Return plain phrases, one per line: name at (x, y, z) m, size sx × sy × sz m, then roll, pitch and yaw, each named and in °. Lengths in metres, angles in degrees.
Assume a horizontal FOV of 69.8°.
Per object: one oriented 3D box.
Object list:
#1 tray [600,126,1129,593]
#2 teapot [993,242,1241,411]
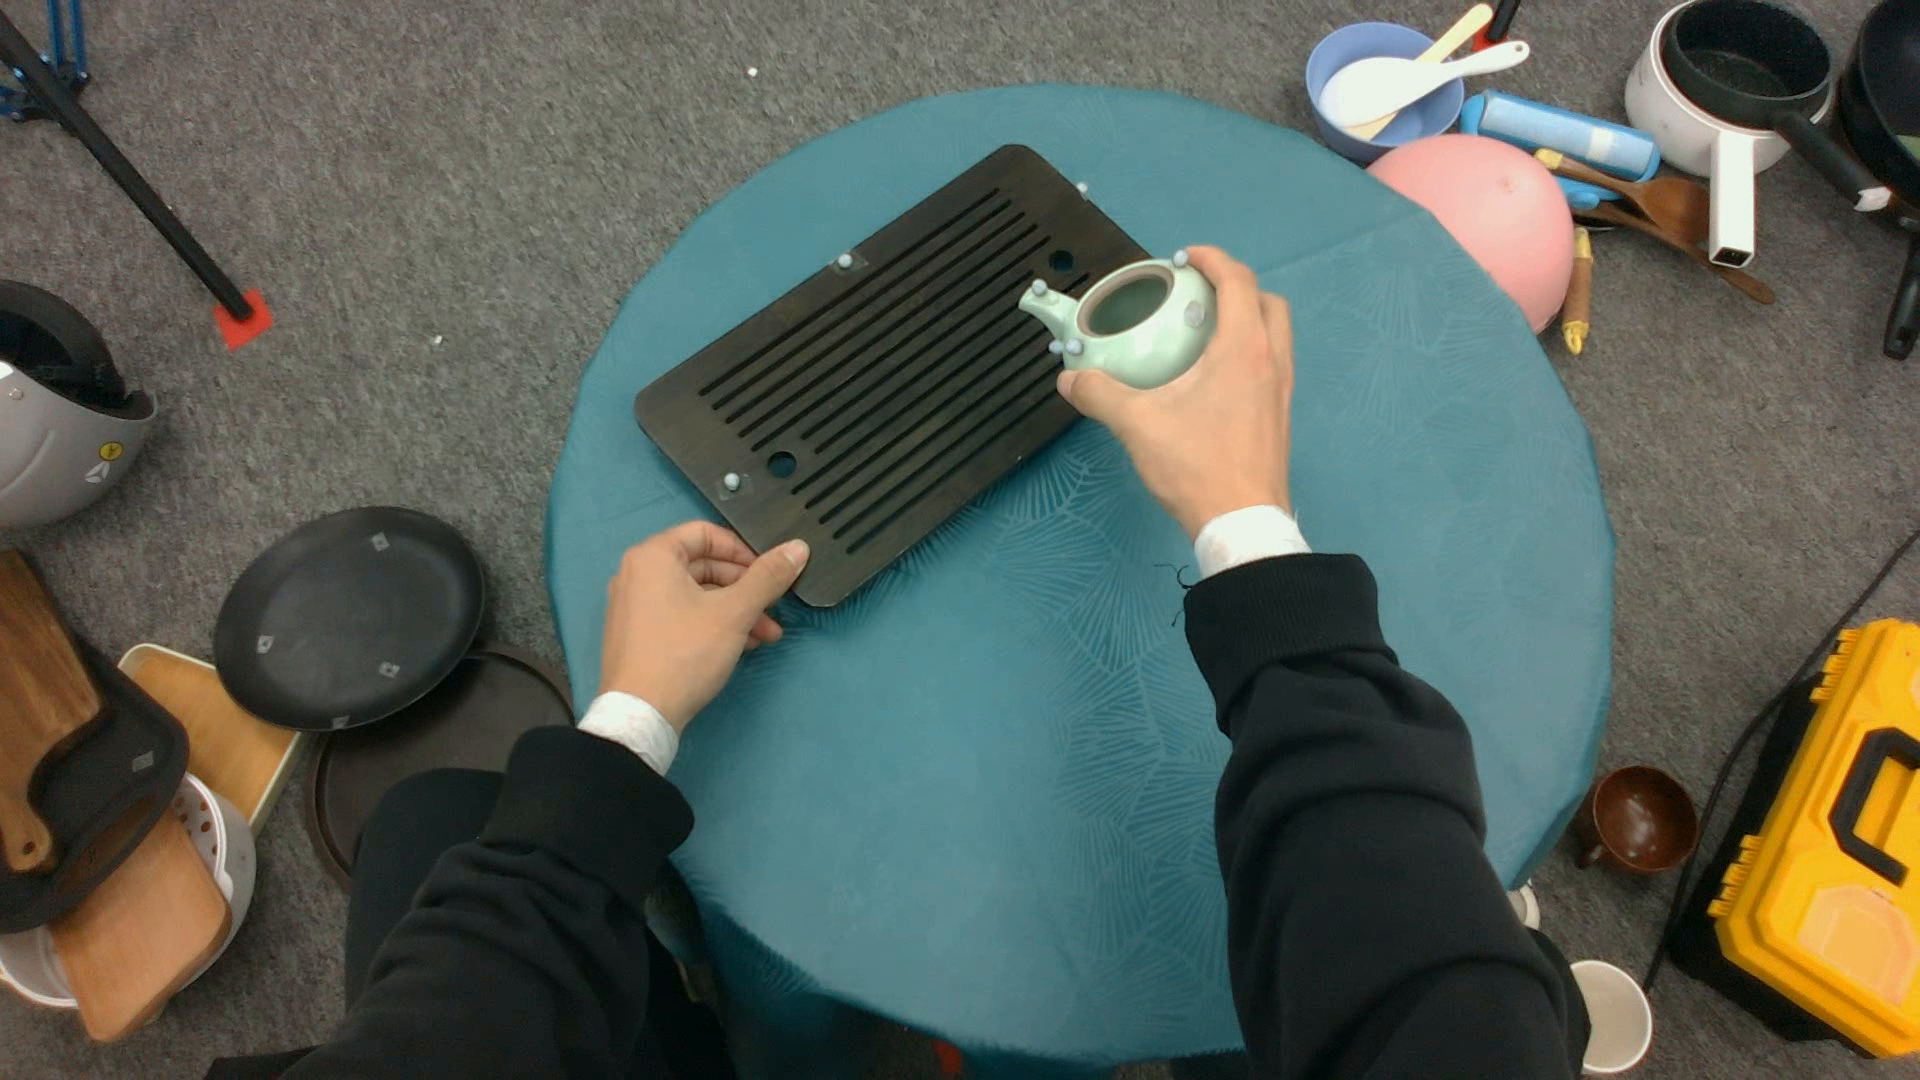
tray at (-0.038, -0.114, 0.796) m, size 0.307 × 0.018 × 0.170 m, roll -39°, pitch 74°, yaw -21°
teapot at (0.083, -0.108, 0.694) m, size 0.143 × 0.074 × 0.088 m, roll 8°, pitch 56°, yaw 48°
